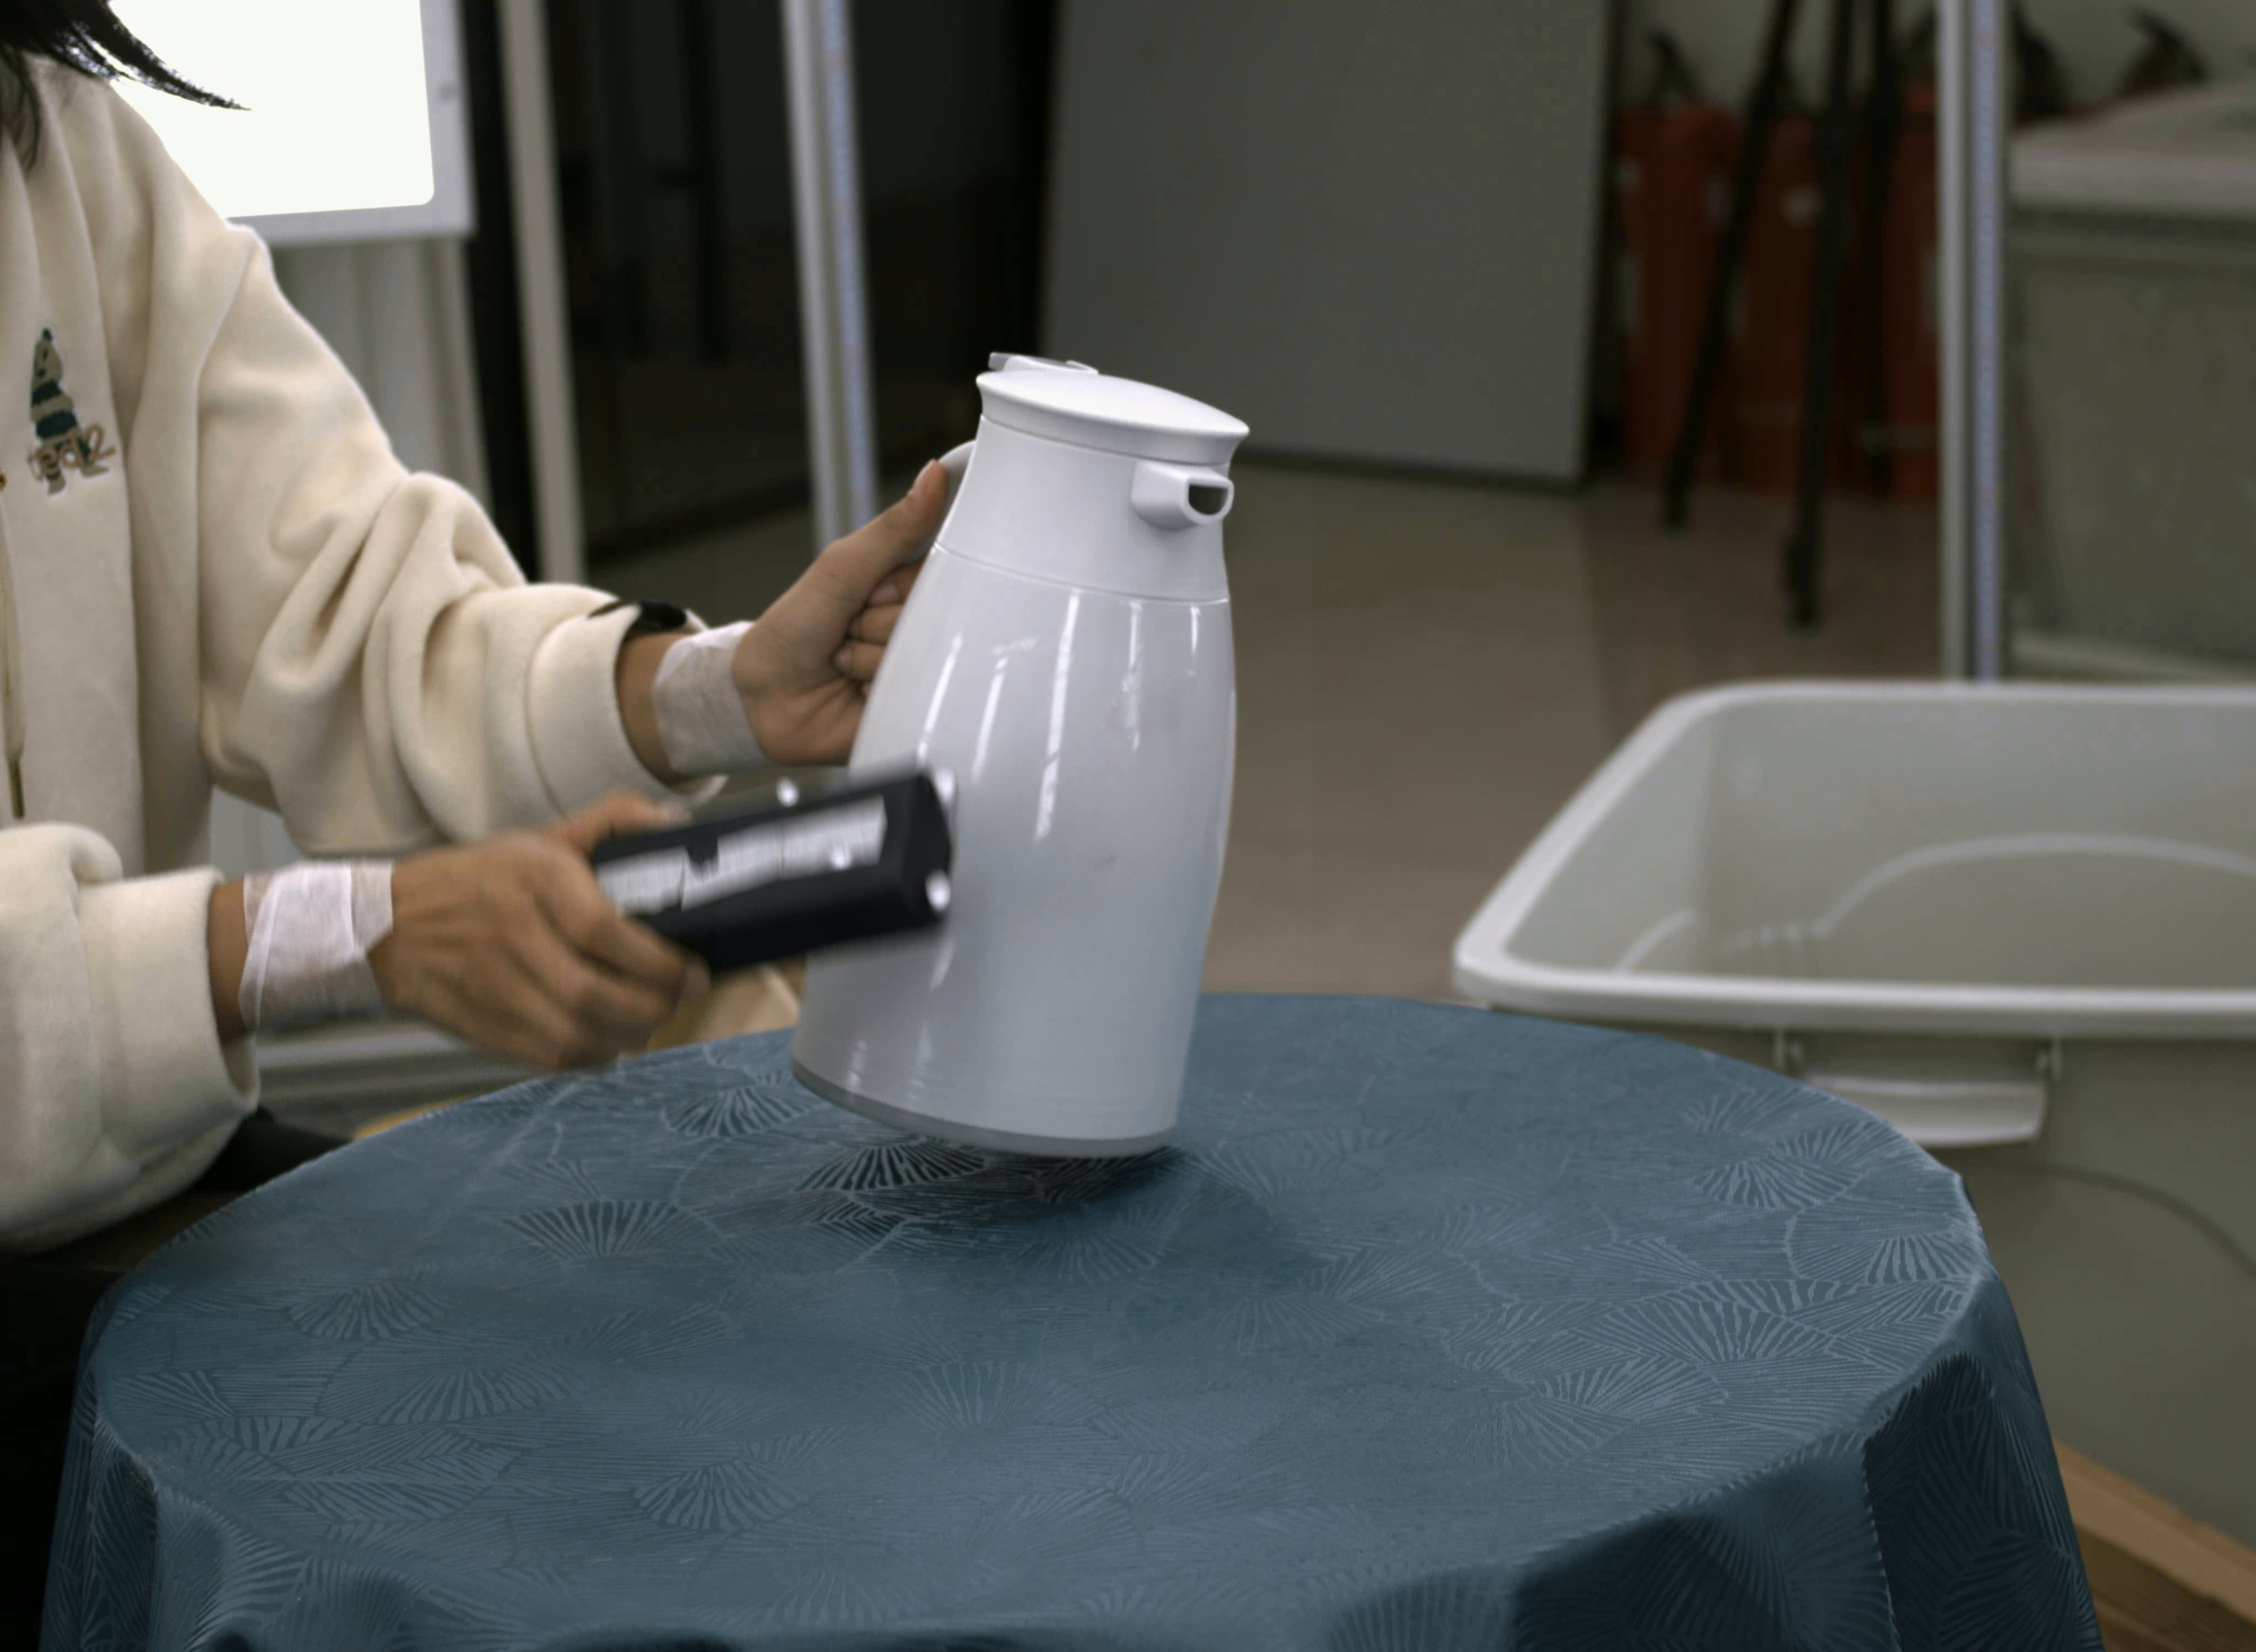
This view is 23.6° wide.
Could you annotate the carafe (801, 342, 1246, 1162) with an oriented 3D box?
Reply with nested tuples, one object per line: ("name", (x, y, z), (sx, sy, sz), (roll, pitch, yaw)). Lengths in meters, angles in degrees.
("carafe", (-0.037, -0.032, 1.796), (0.129, 0.251, 0.169), (2, 12, -36))

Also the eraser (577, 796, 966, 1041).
("eraser", (-0.111, 0.029, 1.689), (0.126, 0.030, 0.054), (-14, 46, 27))
